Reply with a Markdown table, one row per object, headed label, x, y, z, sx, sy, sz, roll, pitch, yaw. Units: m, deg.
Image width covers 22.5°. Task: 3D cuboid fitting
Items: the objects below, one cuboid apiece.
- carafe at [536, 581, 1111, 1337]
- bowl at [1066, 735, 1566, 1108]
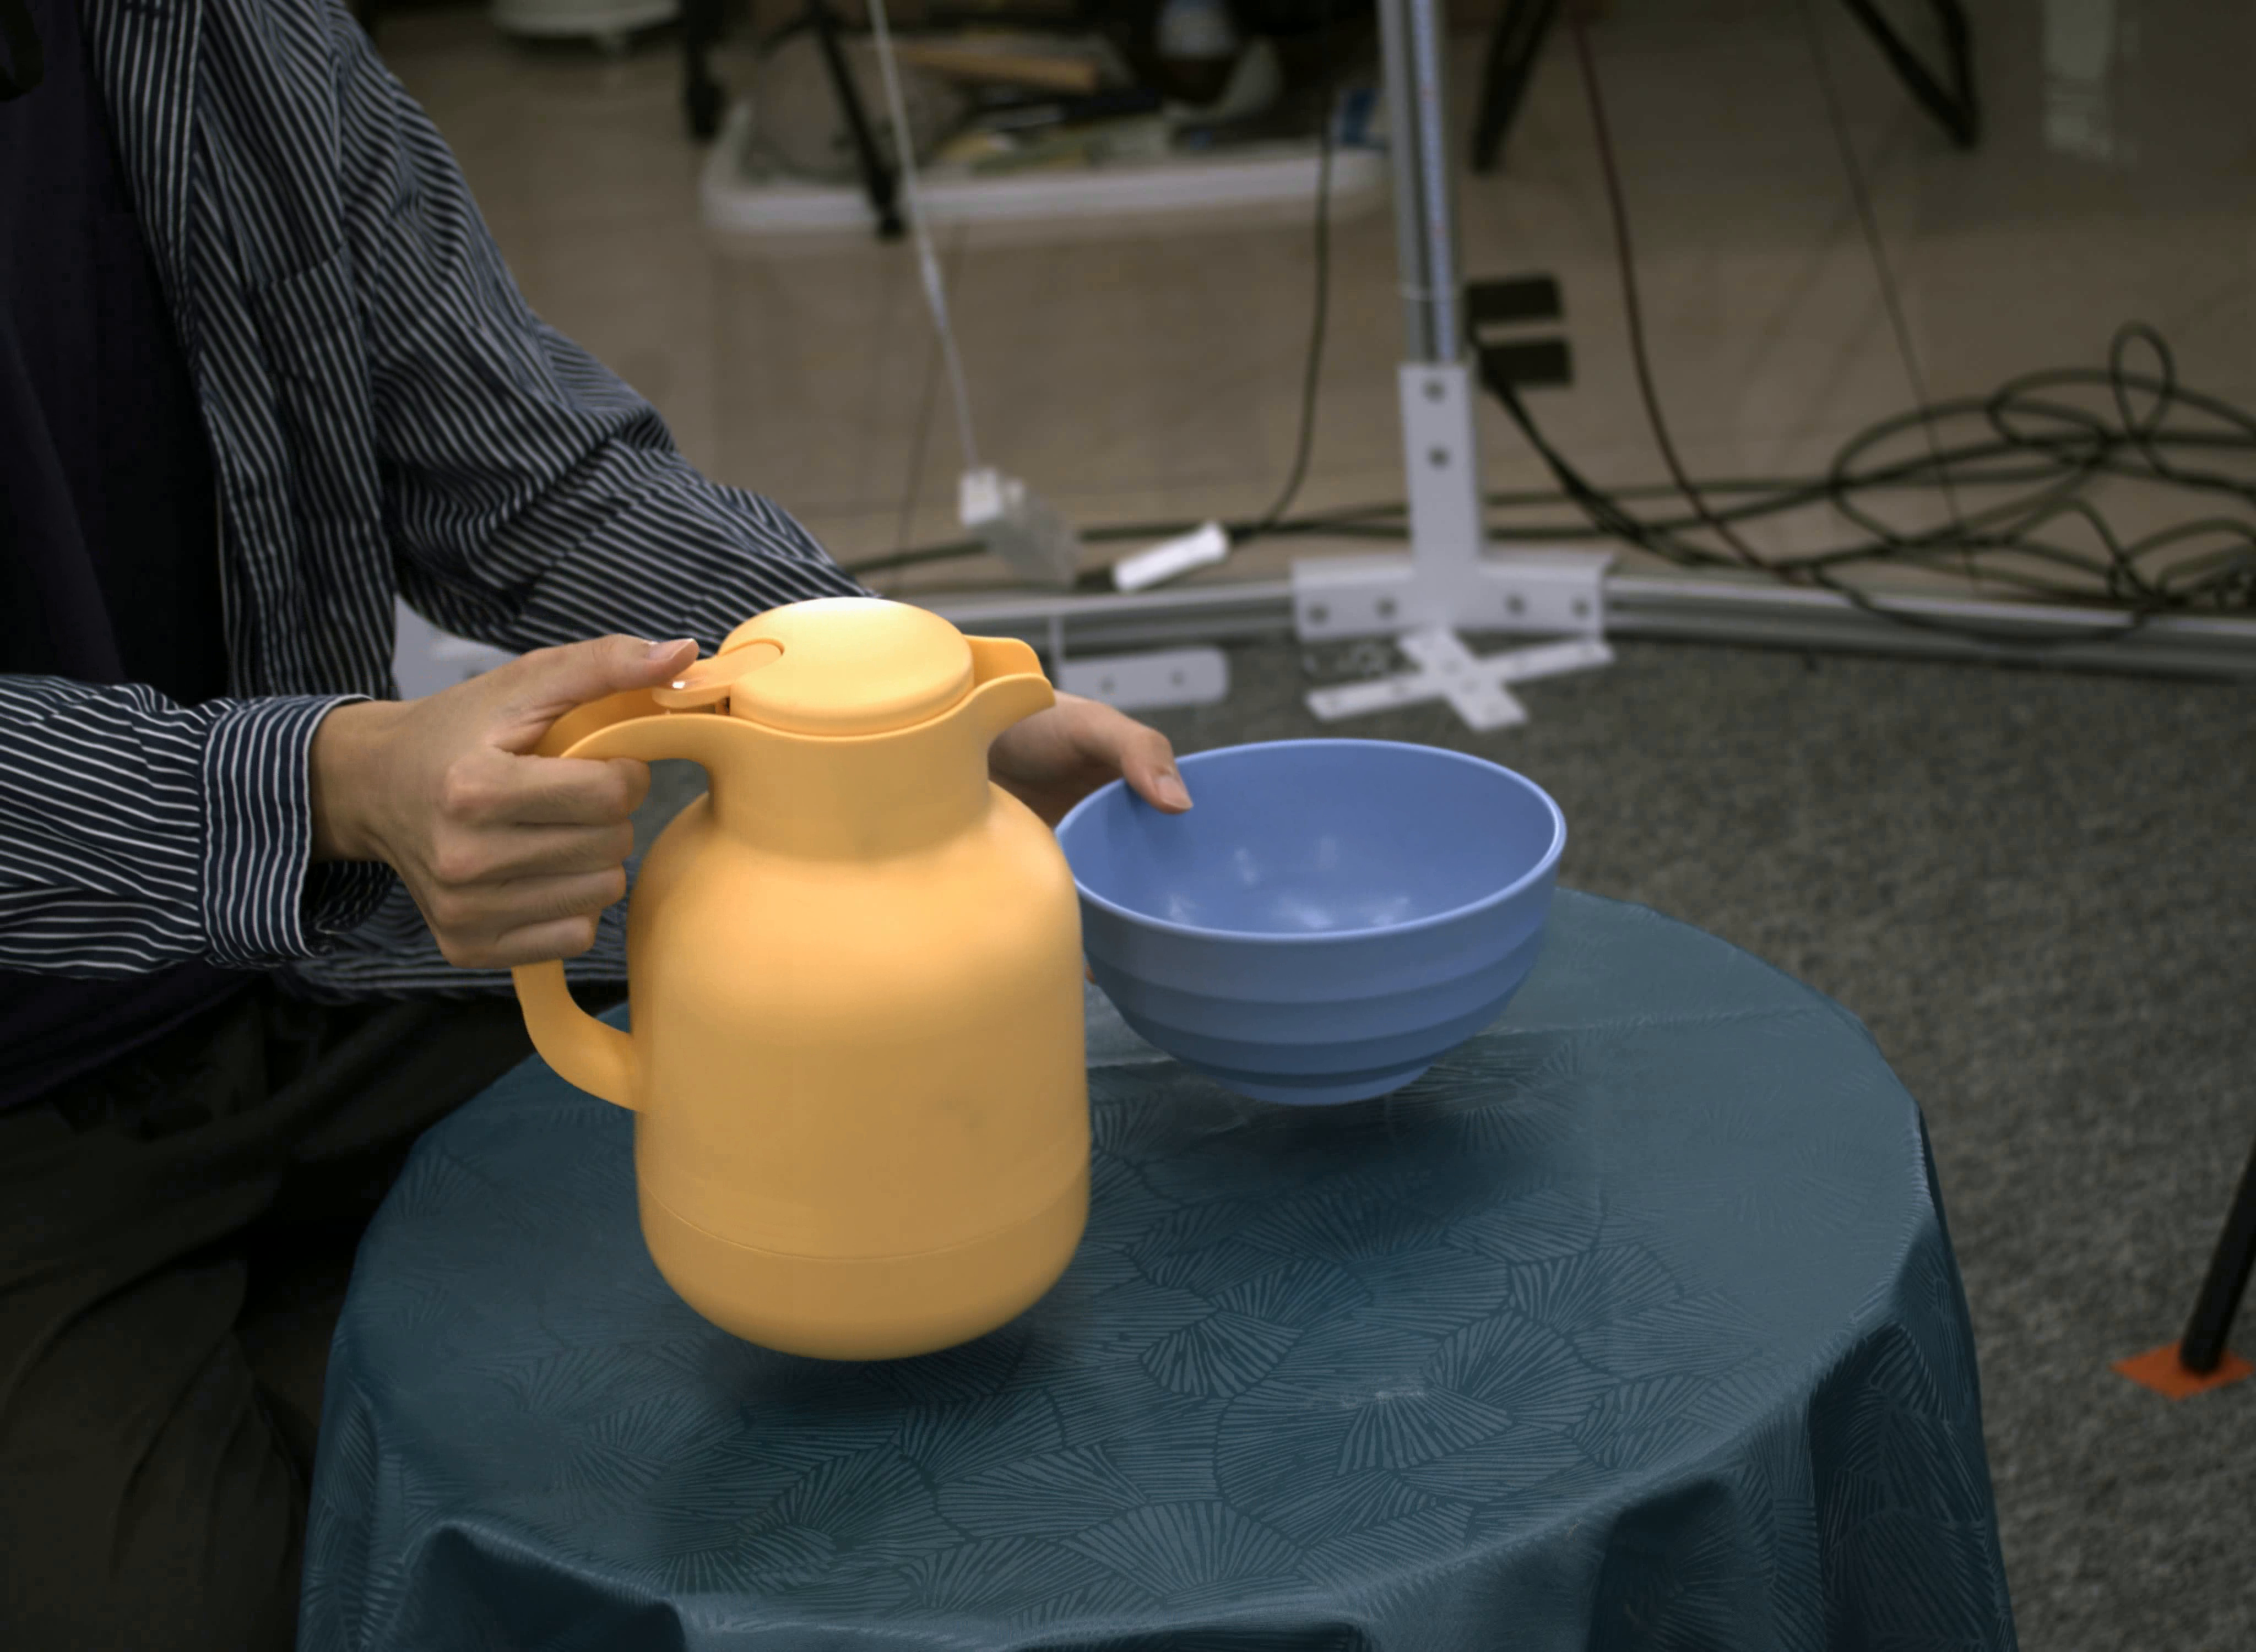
| label | x | y | z | sx | sy | sz | roll | pitch | yaw |
| --- | --- | --- | --- | --- | --- | --- | --- | --- | --- |
| carafe | -0.107 | 0.044 | 2.010 | 0.202 | 0.265 | 0.161 | -8 | 31 | -12 |
| bowl | 0.071 | 0.046 | 2.173 | 0.196 | 0.097 | 0.193 | -3 | 24 | 1 |
